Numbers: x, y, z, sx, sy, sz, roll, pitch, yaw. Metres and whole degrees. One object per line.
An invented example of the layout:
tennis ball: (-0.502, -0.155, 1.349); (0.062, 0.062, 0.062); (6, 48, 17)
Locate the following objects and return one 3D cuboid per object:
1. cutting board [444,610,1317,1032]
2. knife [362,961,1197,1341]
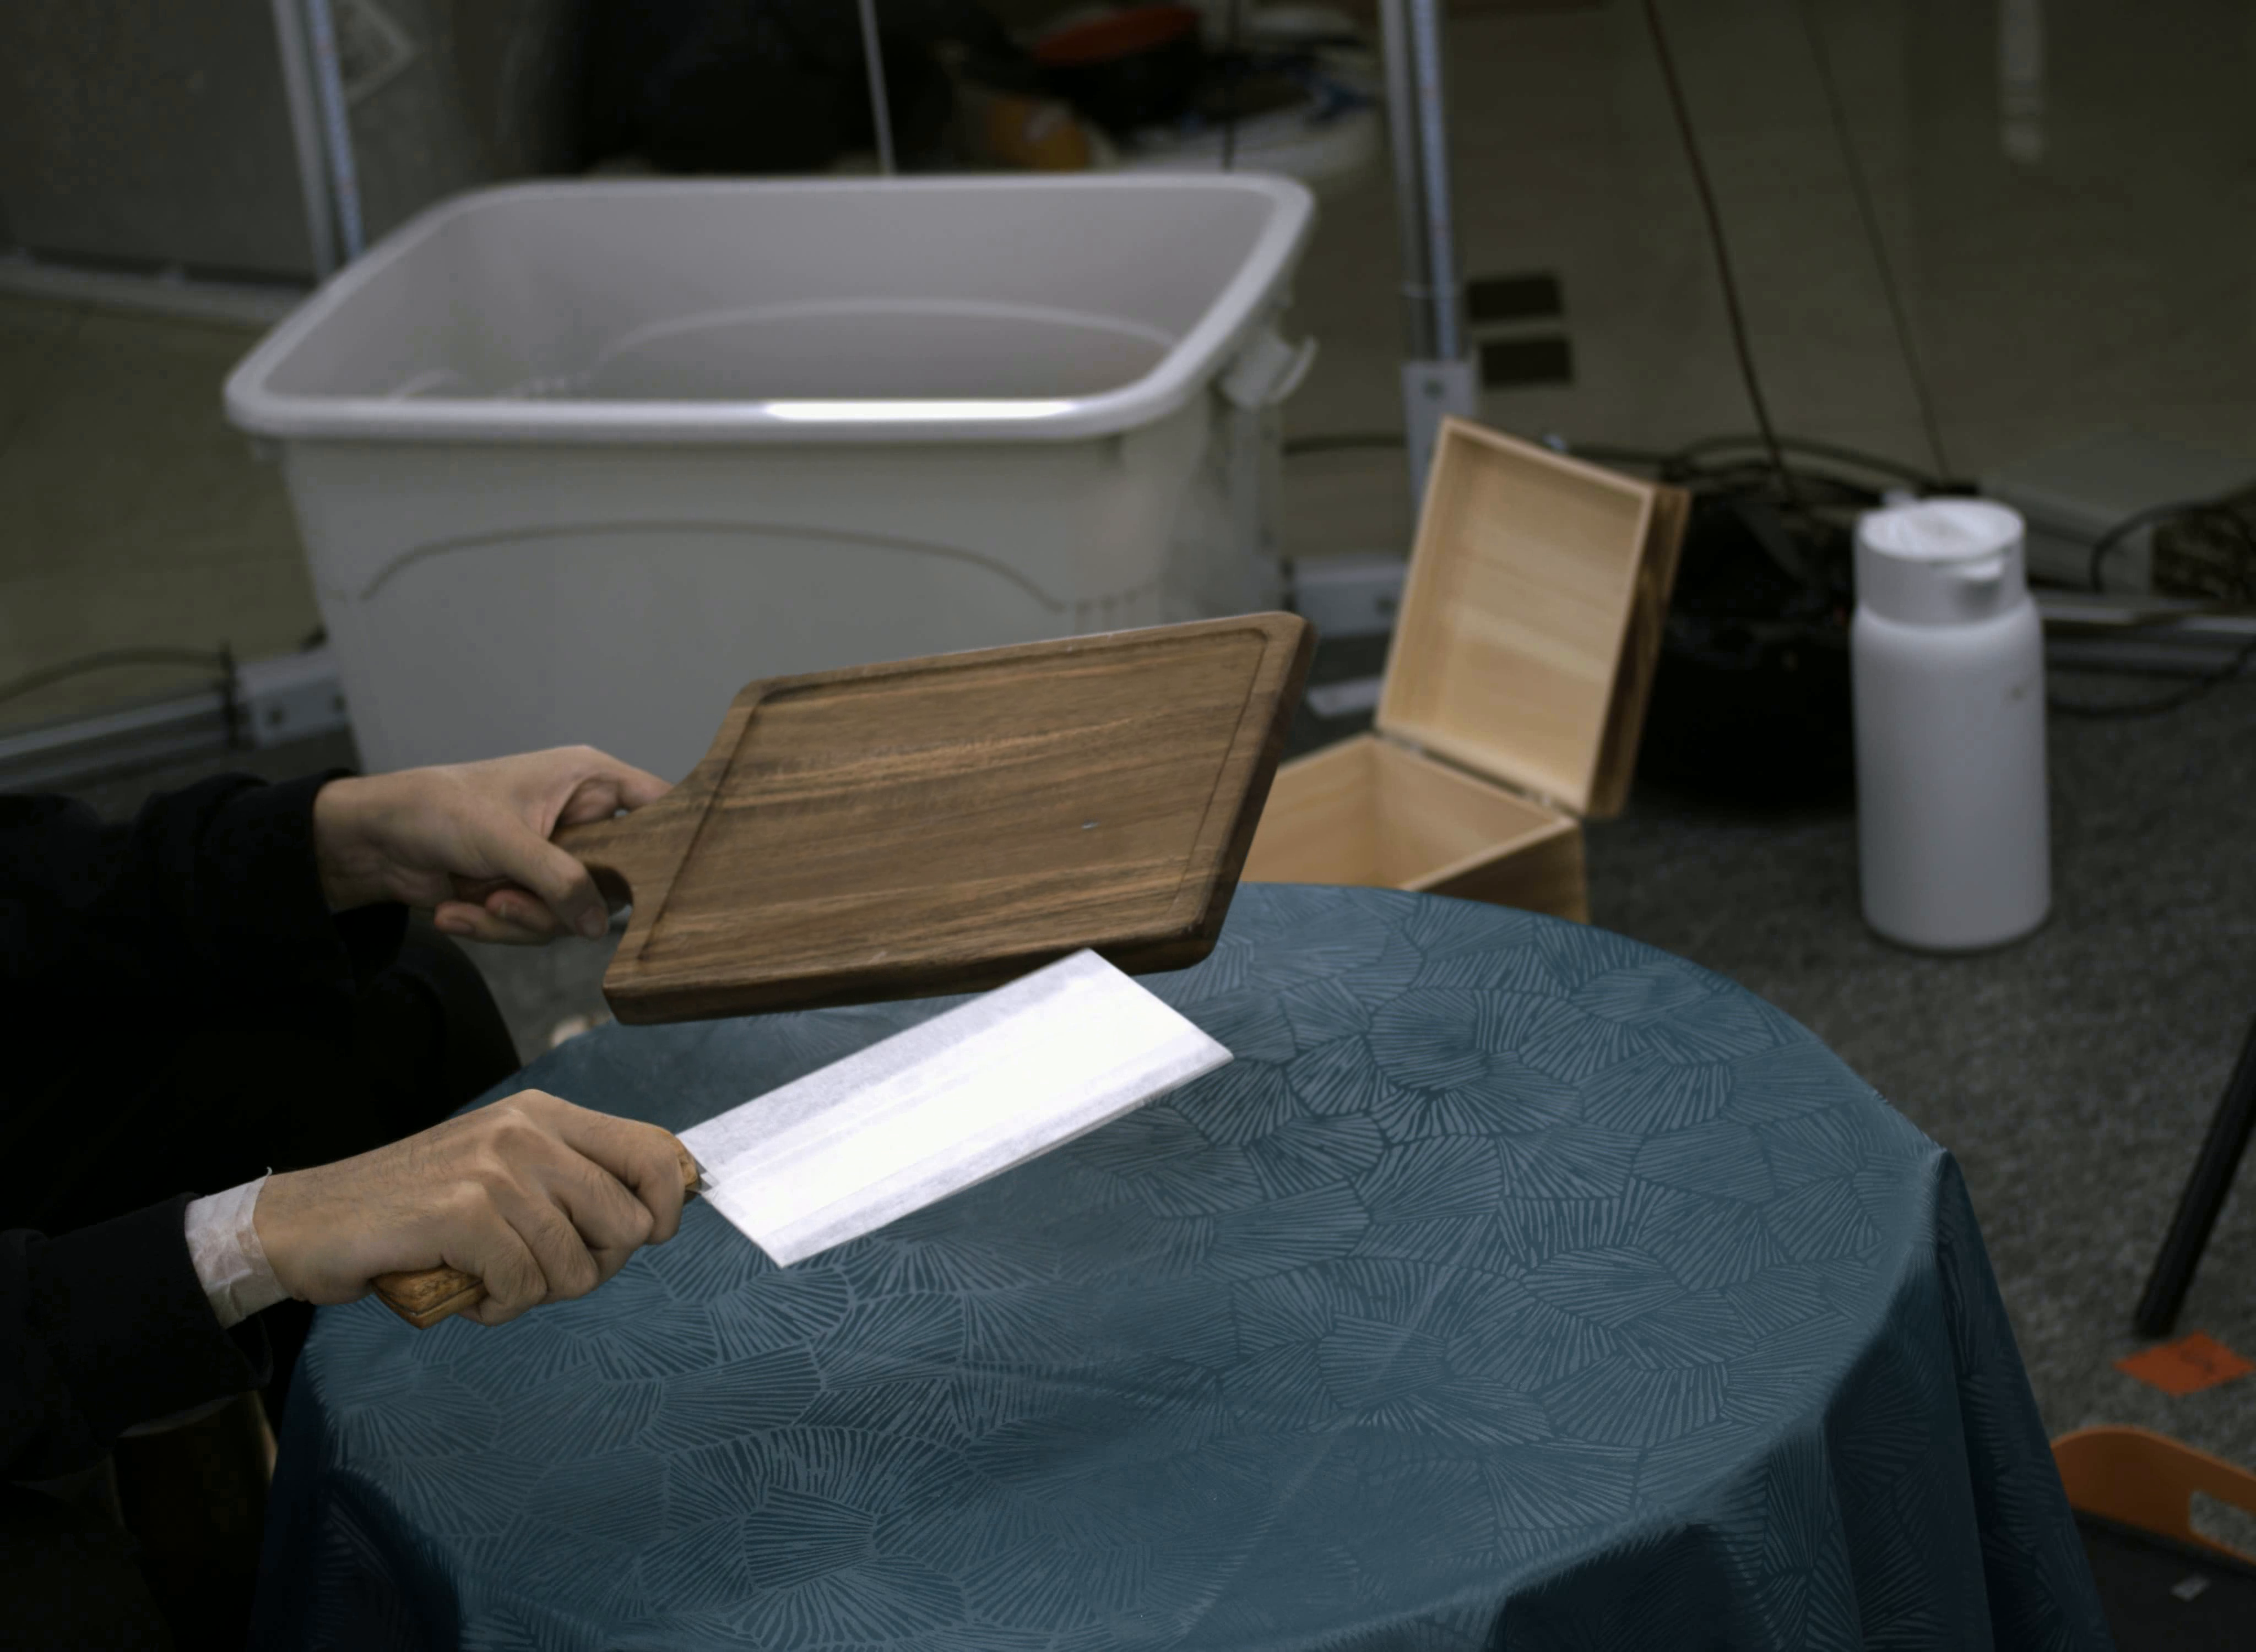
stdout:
cutting board: (-0.108, 0.002, 2.200); (0.352, 0.023, 0.197); (-7, 38, 23)
knife: (-0.112, 0.118, 1.948); (0.304, 0.021, 0.092); (-23, 37, -26)
